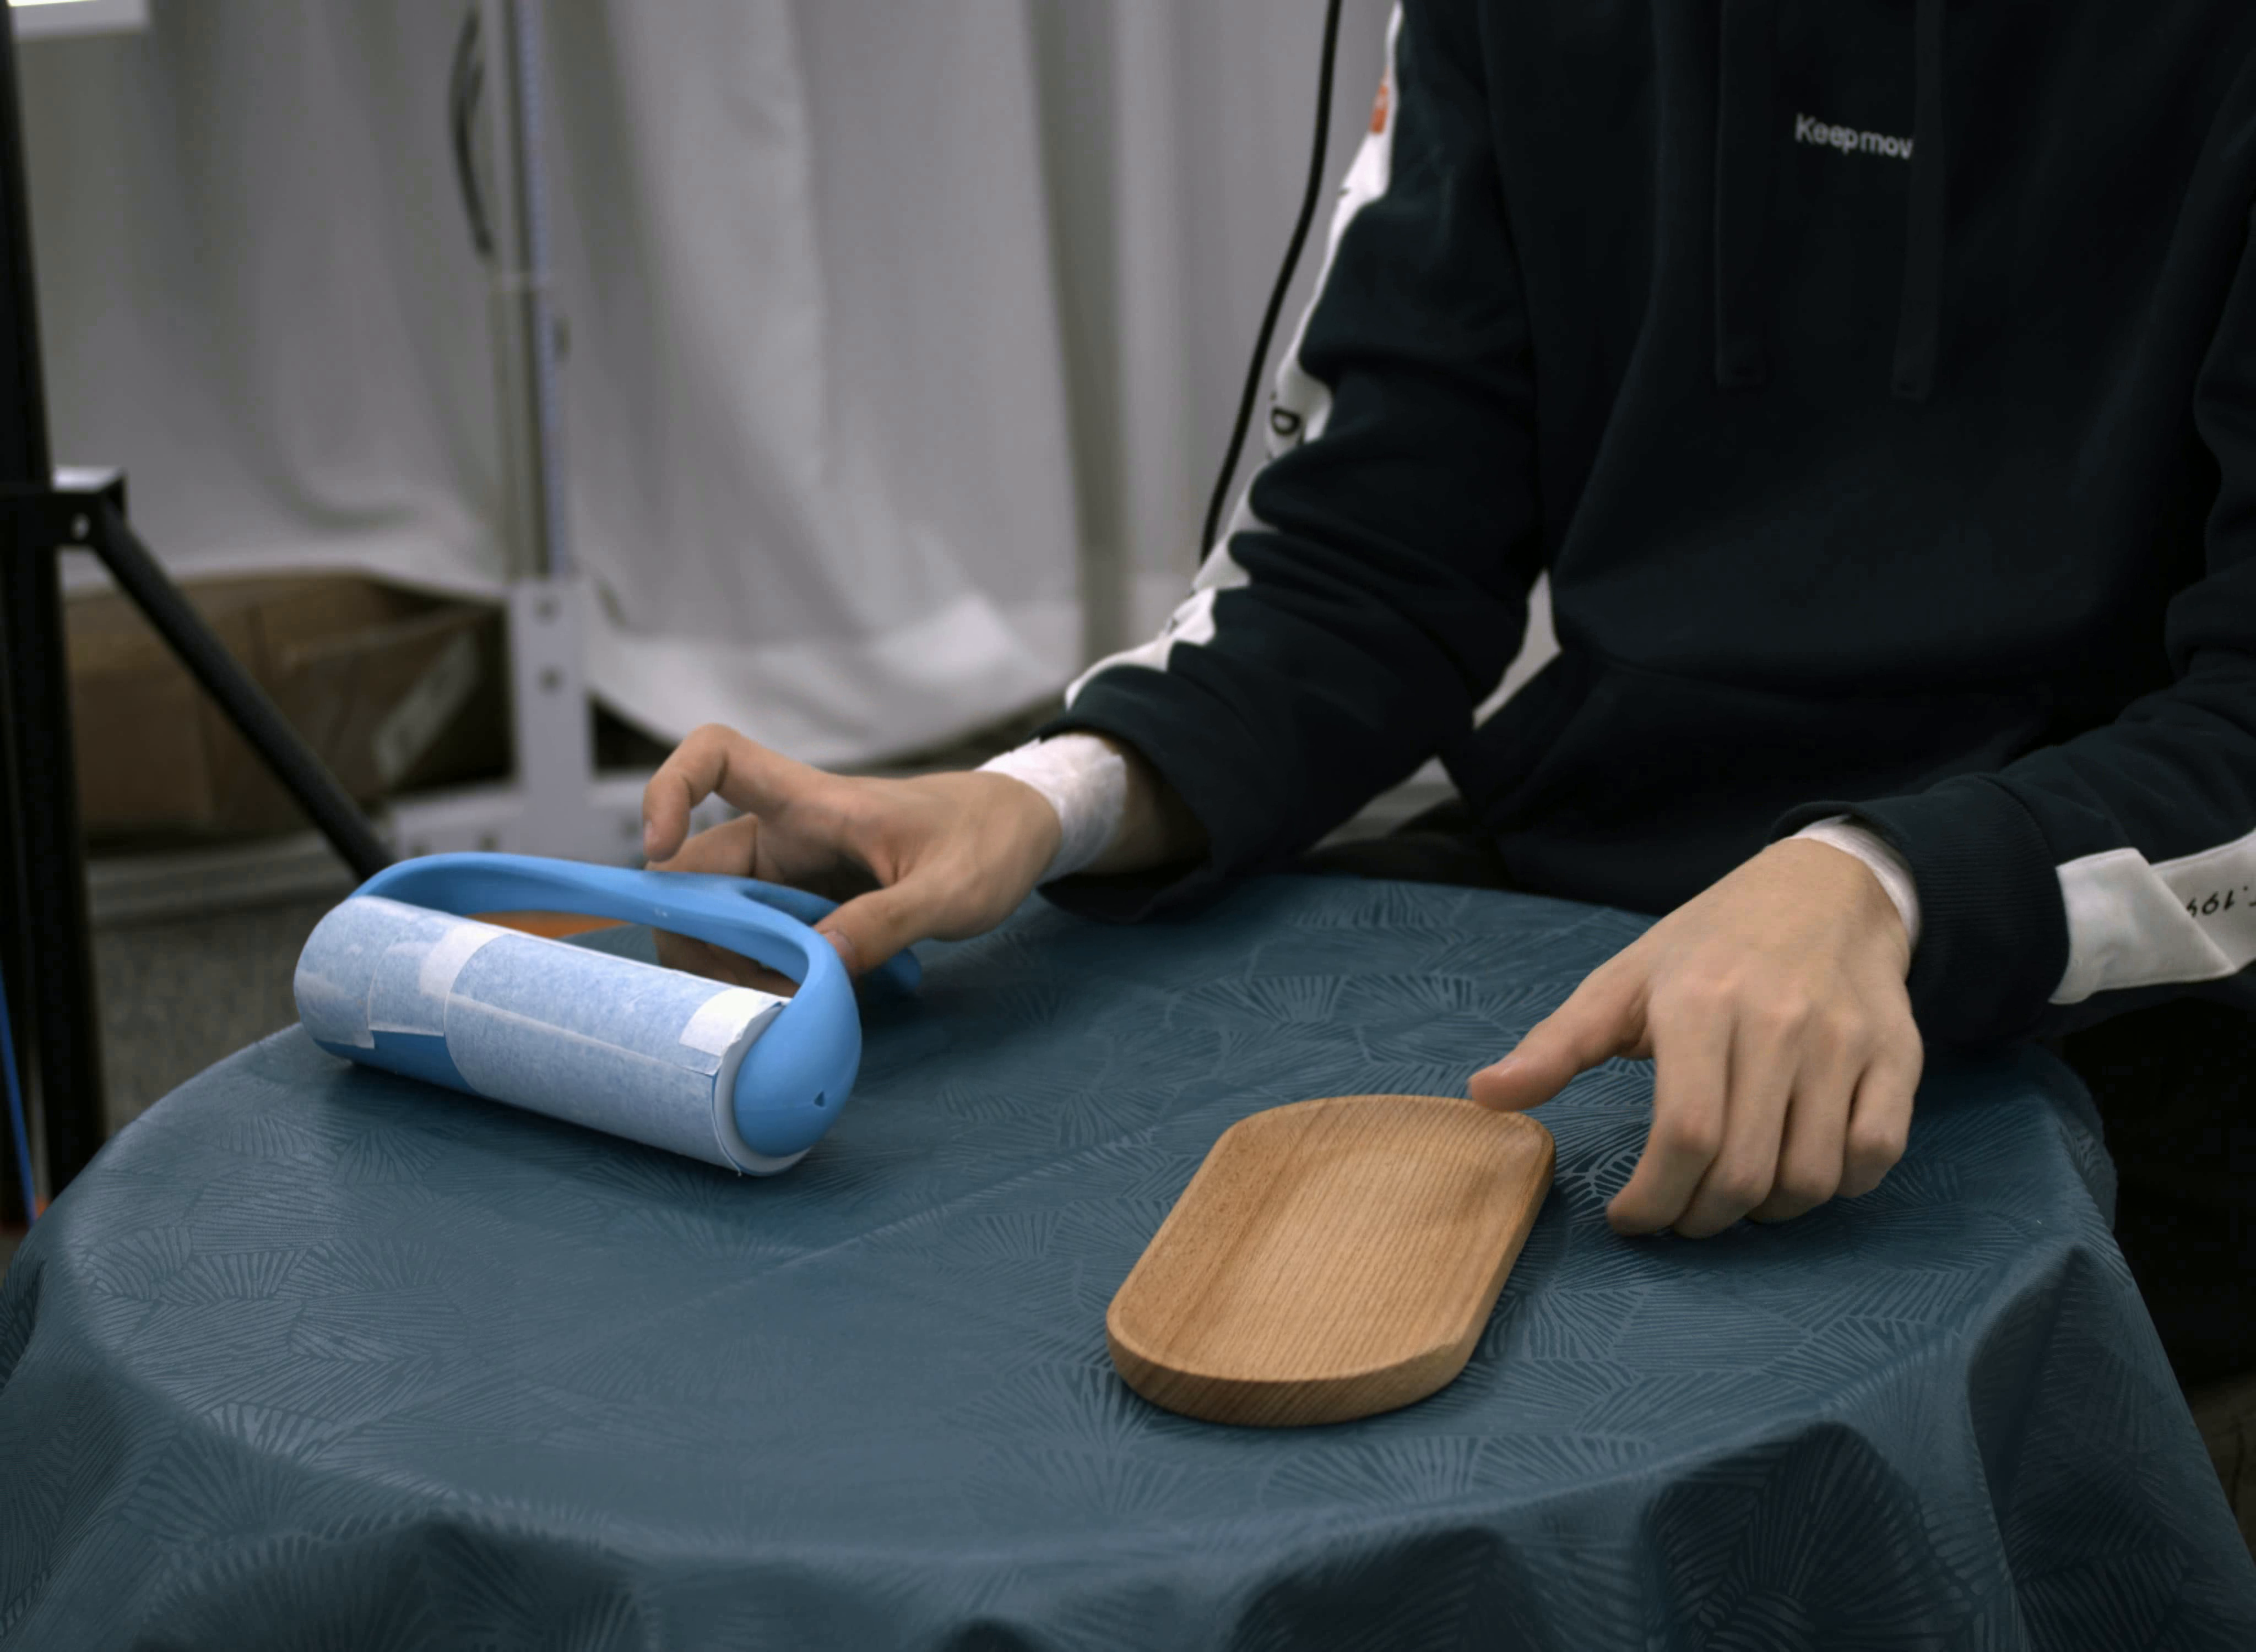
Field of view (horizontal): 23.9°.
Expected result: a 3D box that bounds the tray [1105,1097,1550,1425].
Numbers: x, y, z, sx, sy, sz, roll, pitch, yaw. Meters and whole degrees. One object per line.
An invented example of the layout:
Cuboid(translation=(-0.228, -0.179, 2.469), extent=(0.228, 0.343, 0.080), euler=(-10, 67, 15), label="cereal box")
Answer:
Cuboid(translation=(0.059, 0.119, 1.482), extent=(0.102, 0.020, 0.229), euler=(2, 15, 13), label="tray")

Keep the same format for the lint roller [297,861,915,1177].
Cuboid(translation=(-0.137, 0.048, 1.687), extent=(0.234, 0.068, 0.176), euler=(9, 21, 40), label="lint roller")
